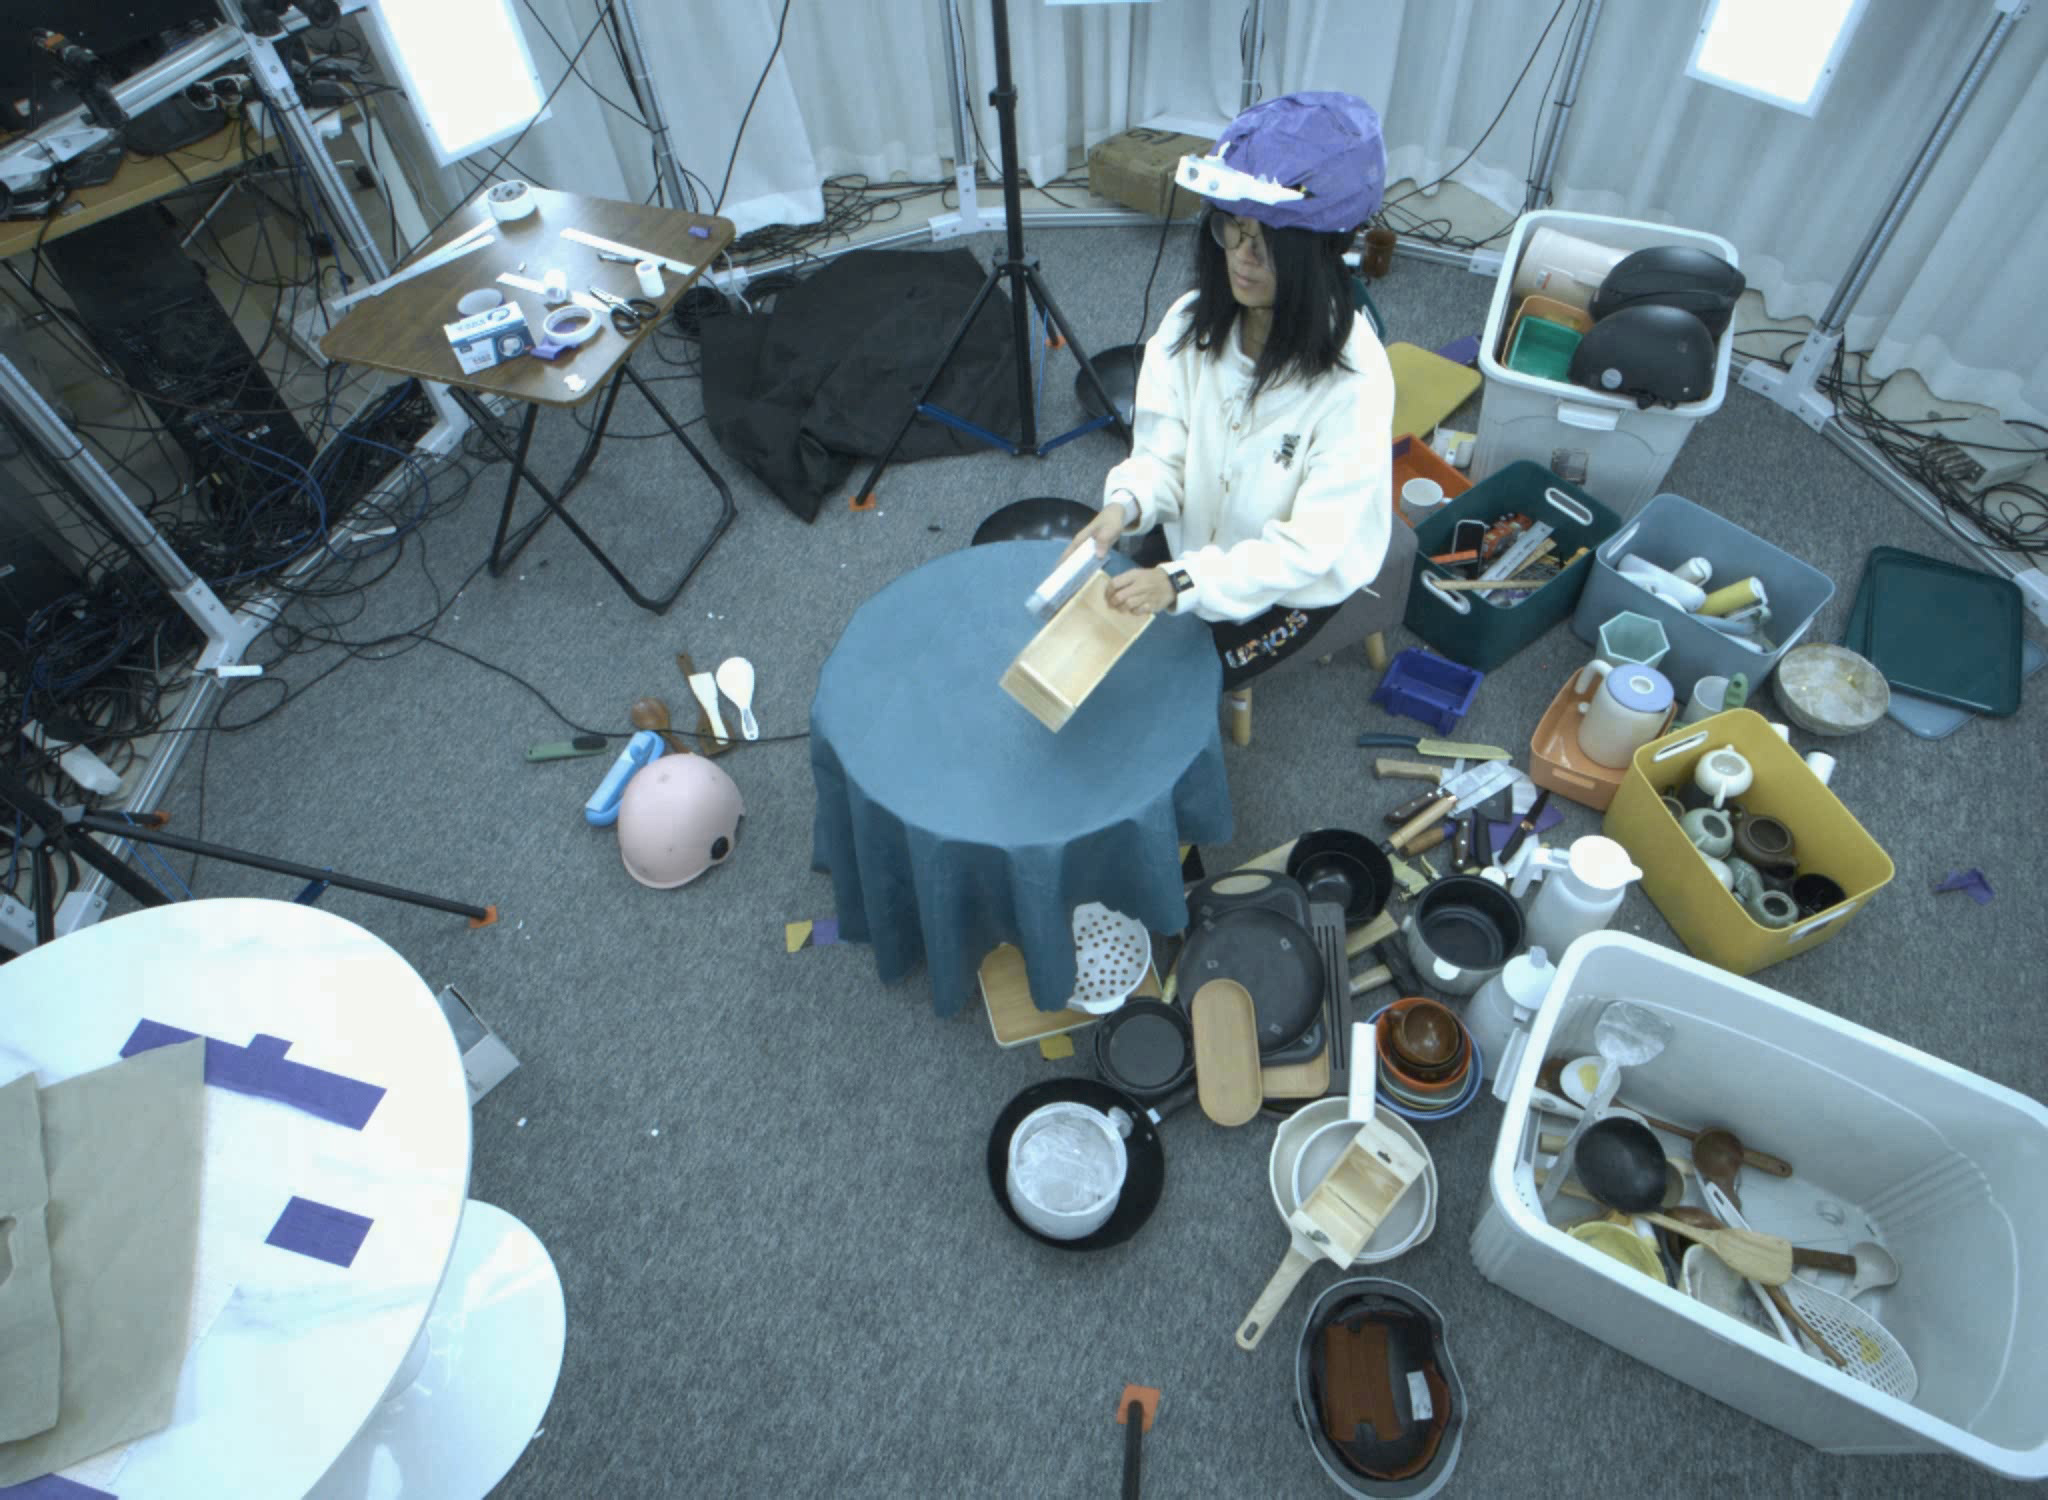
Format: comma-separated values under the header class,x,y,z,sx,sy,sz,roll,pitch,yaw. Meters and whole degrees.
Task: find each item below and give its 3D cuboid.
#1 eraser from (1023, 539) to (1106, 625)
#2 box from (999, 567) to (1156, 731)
class,x,y,z,sx,sy,sz,roll,pitch,yaw
eraser,0.059,-0.241,1.759,0.046,0.049,0.135,41,59,0
box,0.076,-0.143,1.718,0.108,0.079,0.212,41,59,-2
